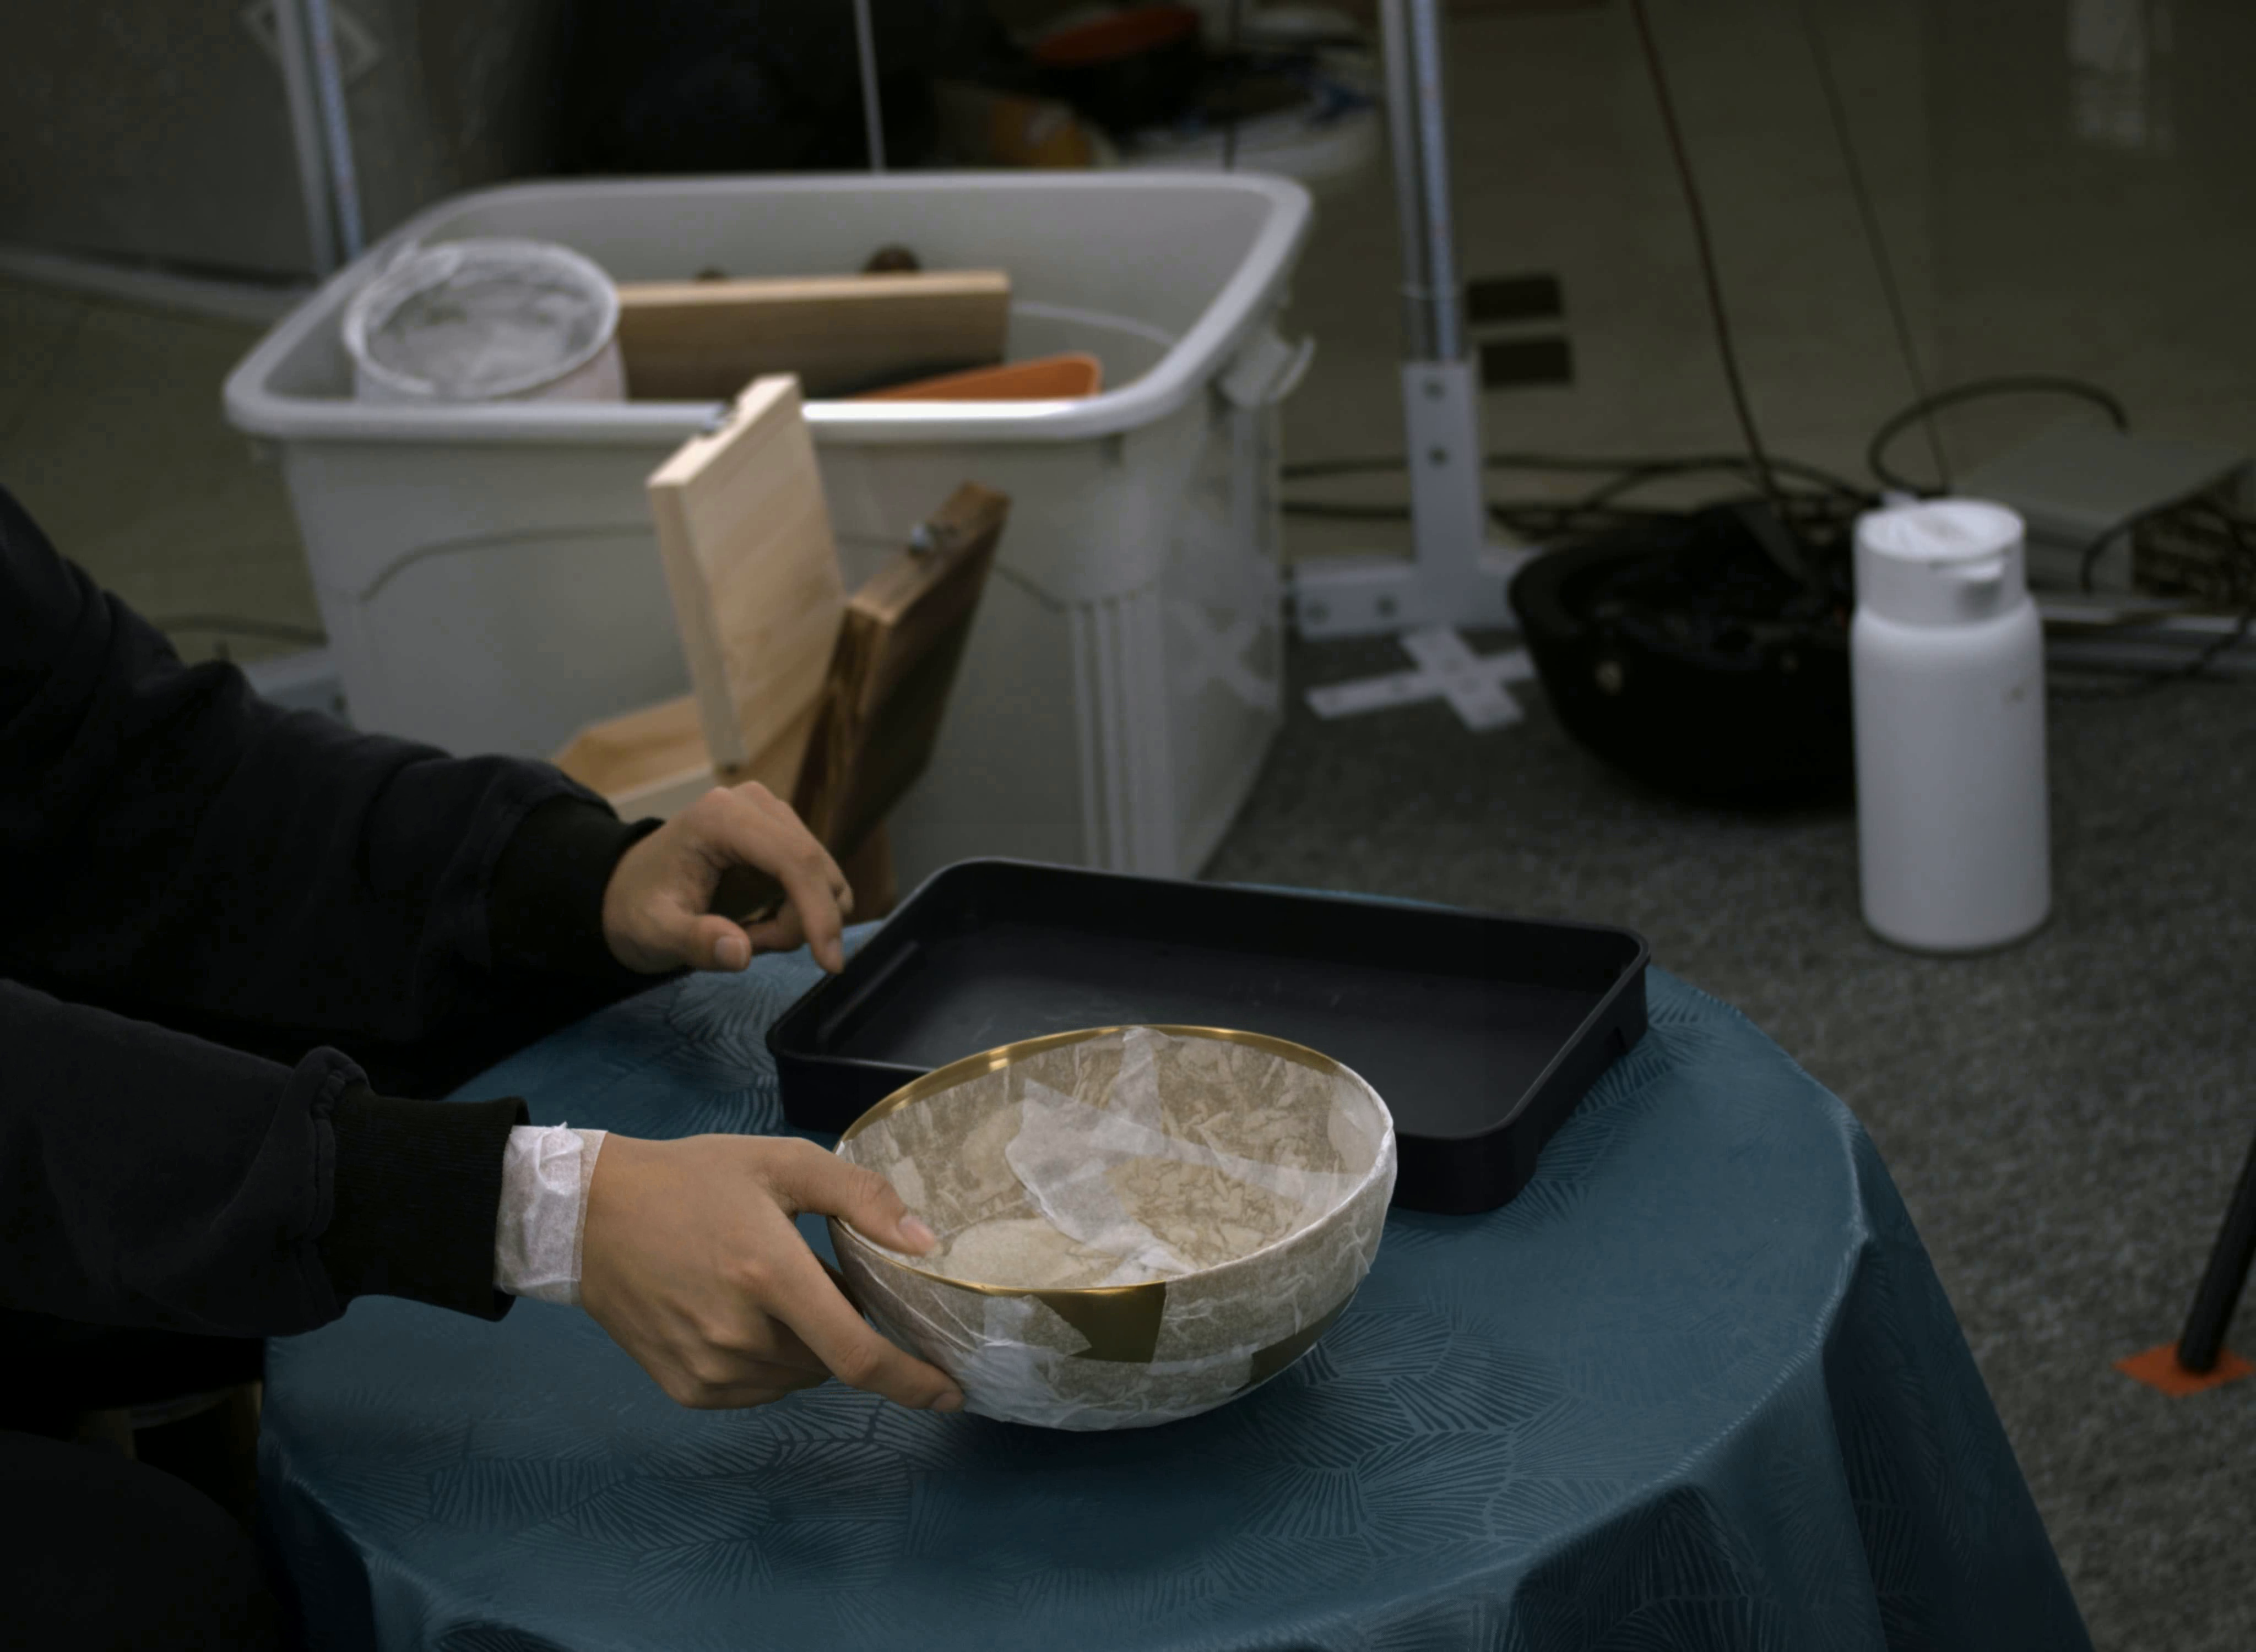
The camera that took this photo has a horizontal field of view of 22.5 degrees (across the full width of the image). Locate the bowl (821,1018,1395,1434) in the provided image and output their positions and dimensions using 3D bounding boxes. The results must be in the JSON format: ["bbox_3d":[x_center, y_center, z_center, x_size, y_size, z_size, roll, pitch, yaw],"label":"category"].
[{"bbox_3d":[-0.006,0.153,2.012,0.214,0.096,0.211,-6,26,3],"label":"bowl"}]

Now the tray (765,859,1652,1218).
[{"bbox_3d":[0.032,0.080,2.229,0.317,0.037,0.182,7,28,26],"label":"tray"}]
